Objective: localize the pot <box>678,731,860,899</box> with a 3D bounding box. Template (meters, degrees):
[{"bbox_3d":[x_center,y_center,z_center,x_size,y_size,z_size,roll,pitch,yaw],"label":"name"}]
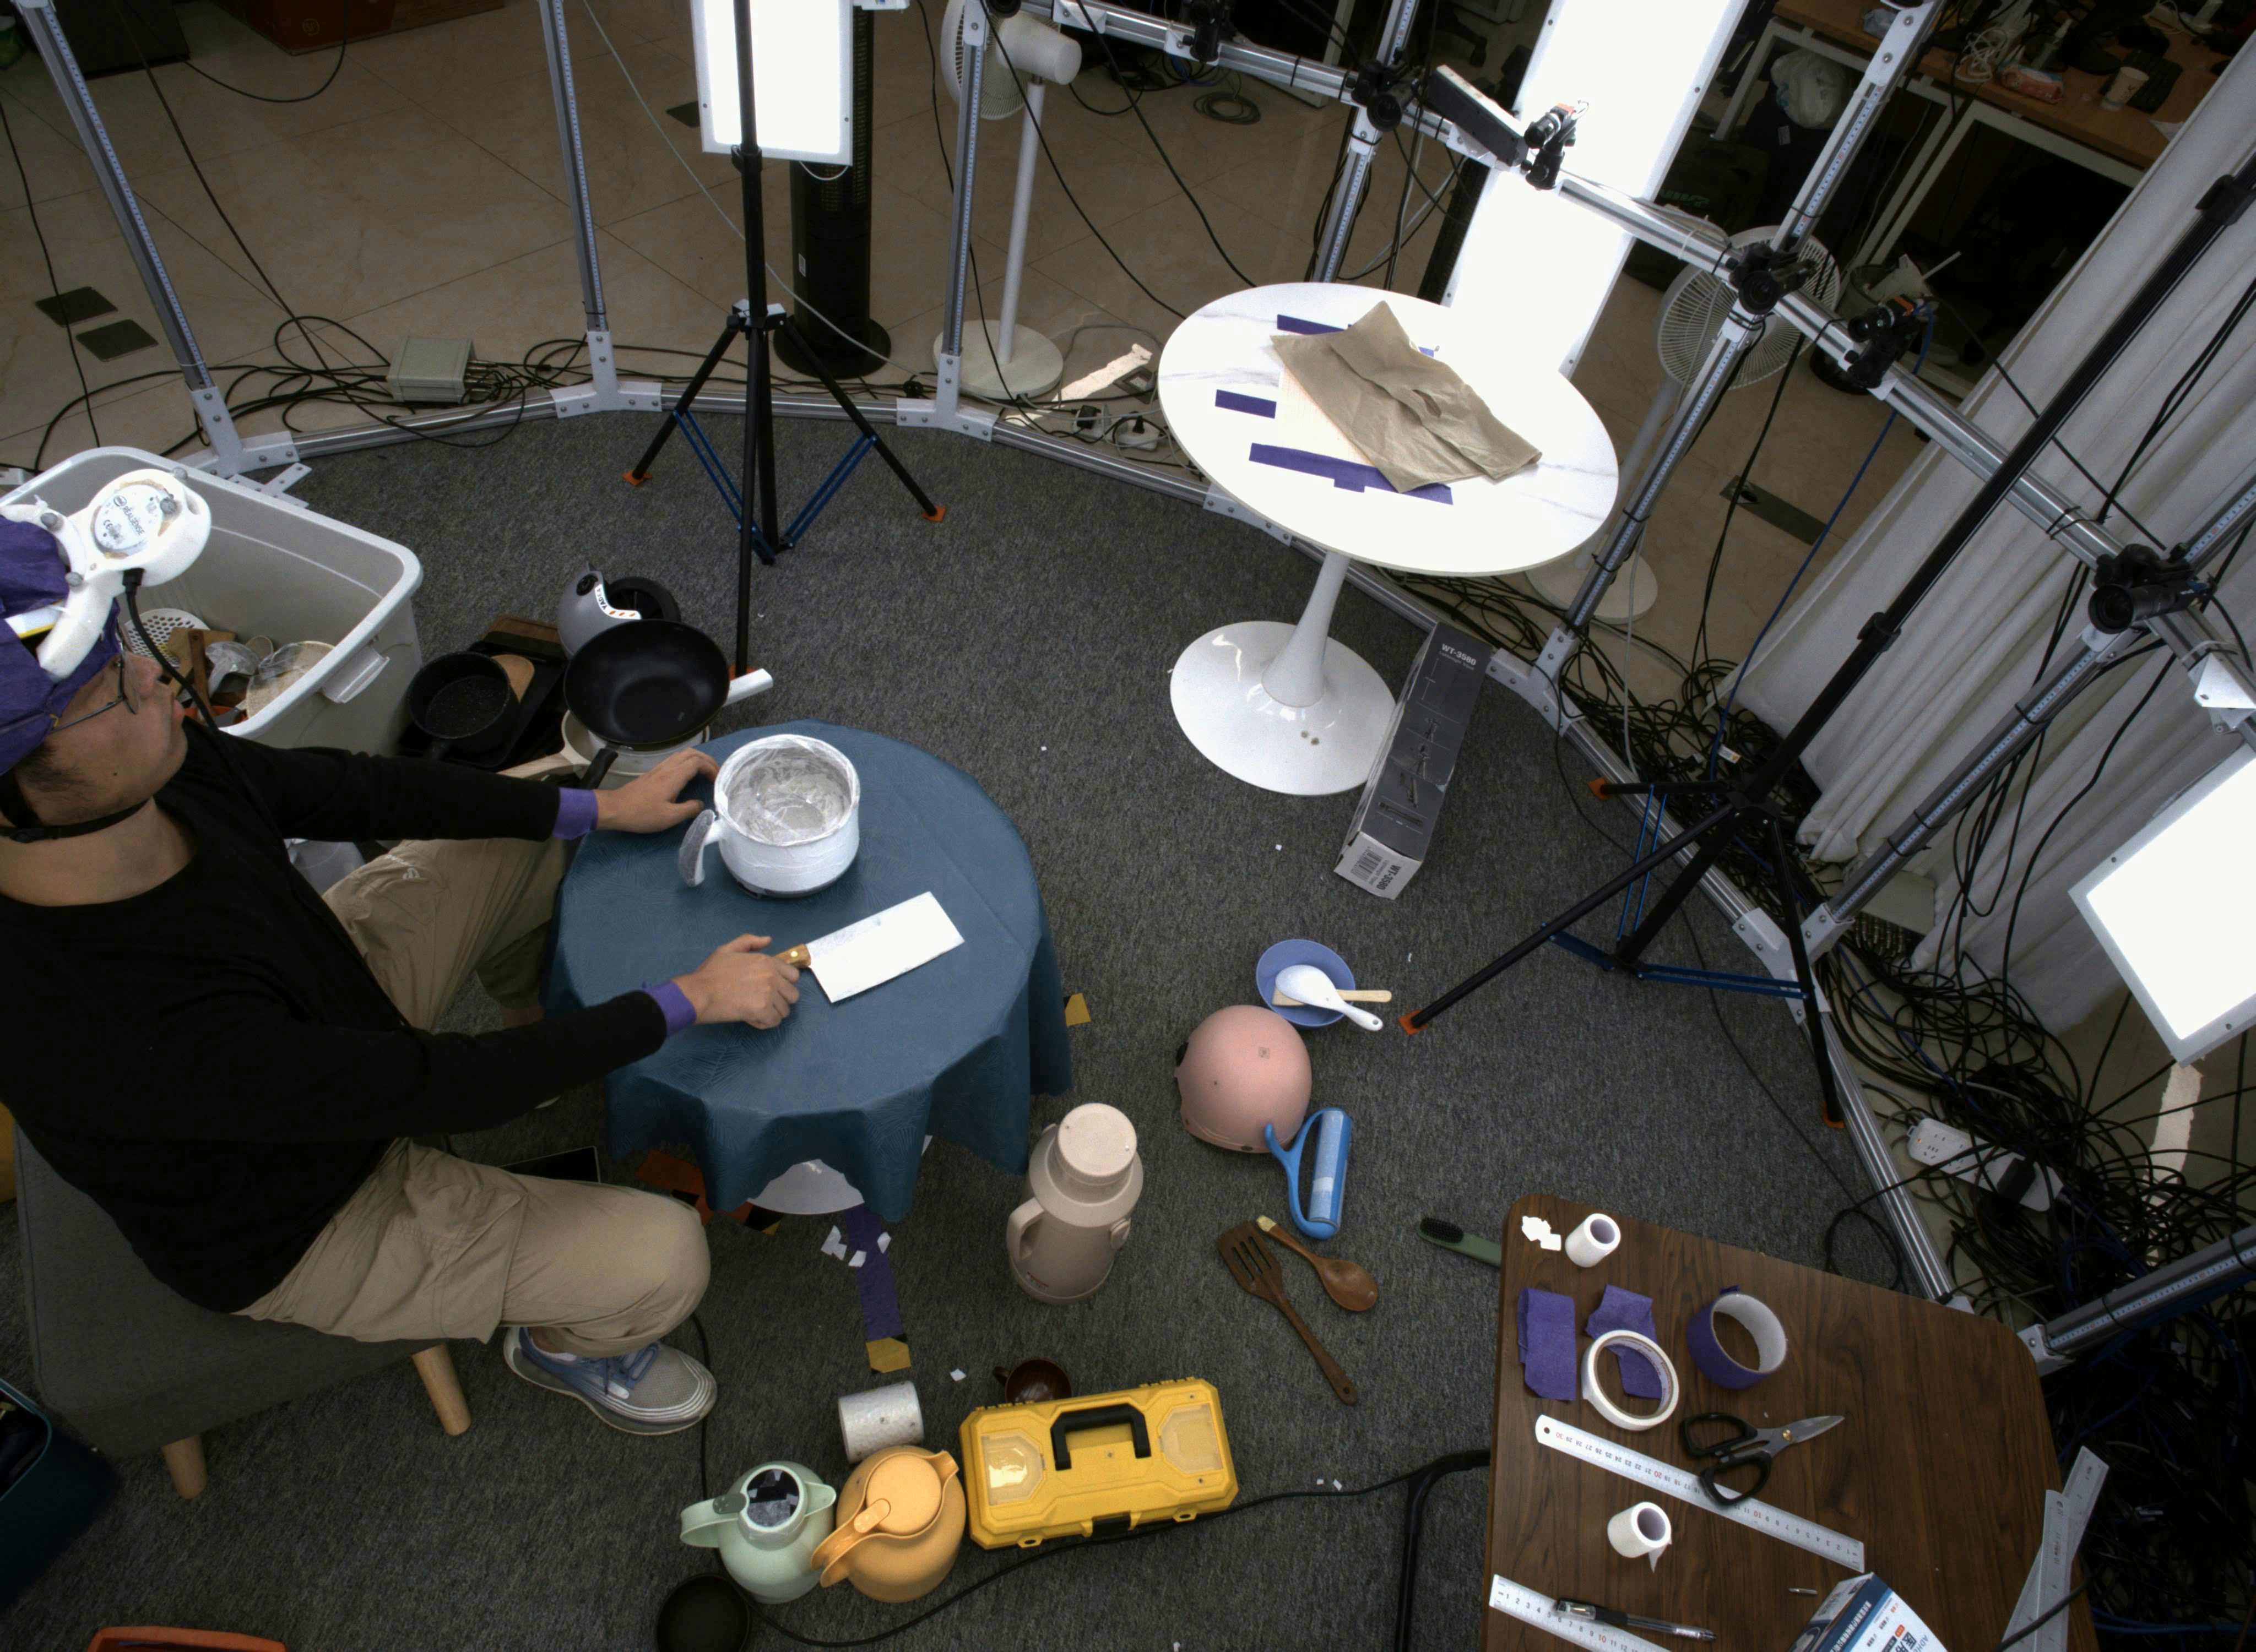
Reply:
[{"bbox_3d":[-0.452,-0.001,1.624,0.235,0.139,0.174,-23,61,-29],"label":"pot"}]

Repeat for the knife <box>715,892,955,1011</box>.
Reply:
[{"bbox_3d":[-0.354,0.167,1.606,0.307,0.021,0.090,-24,63,-31],"label":"knife"}]
